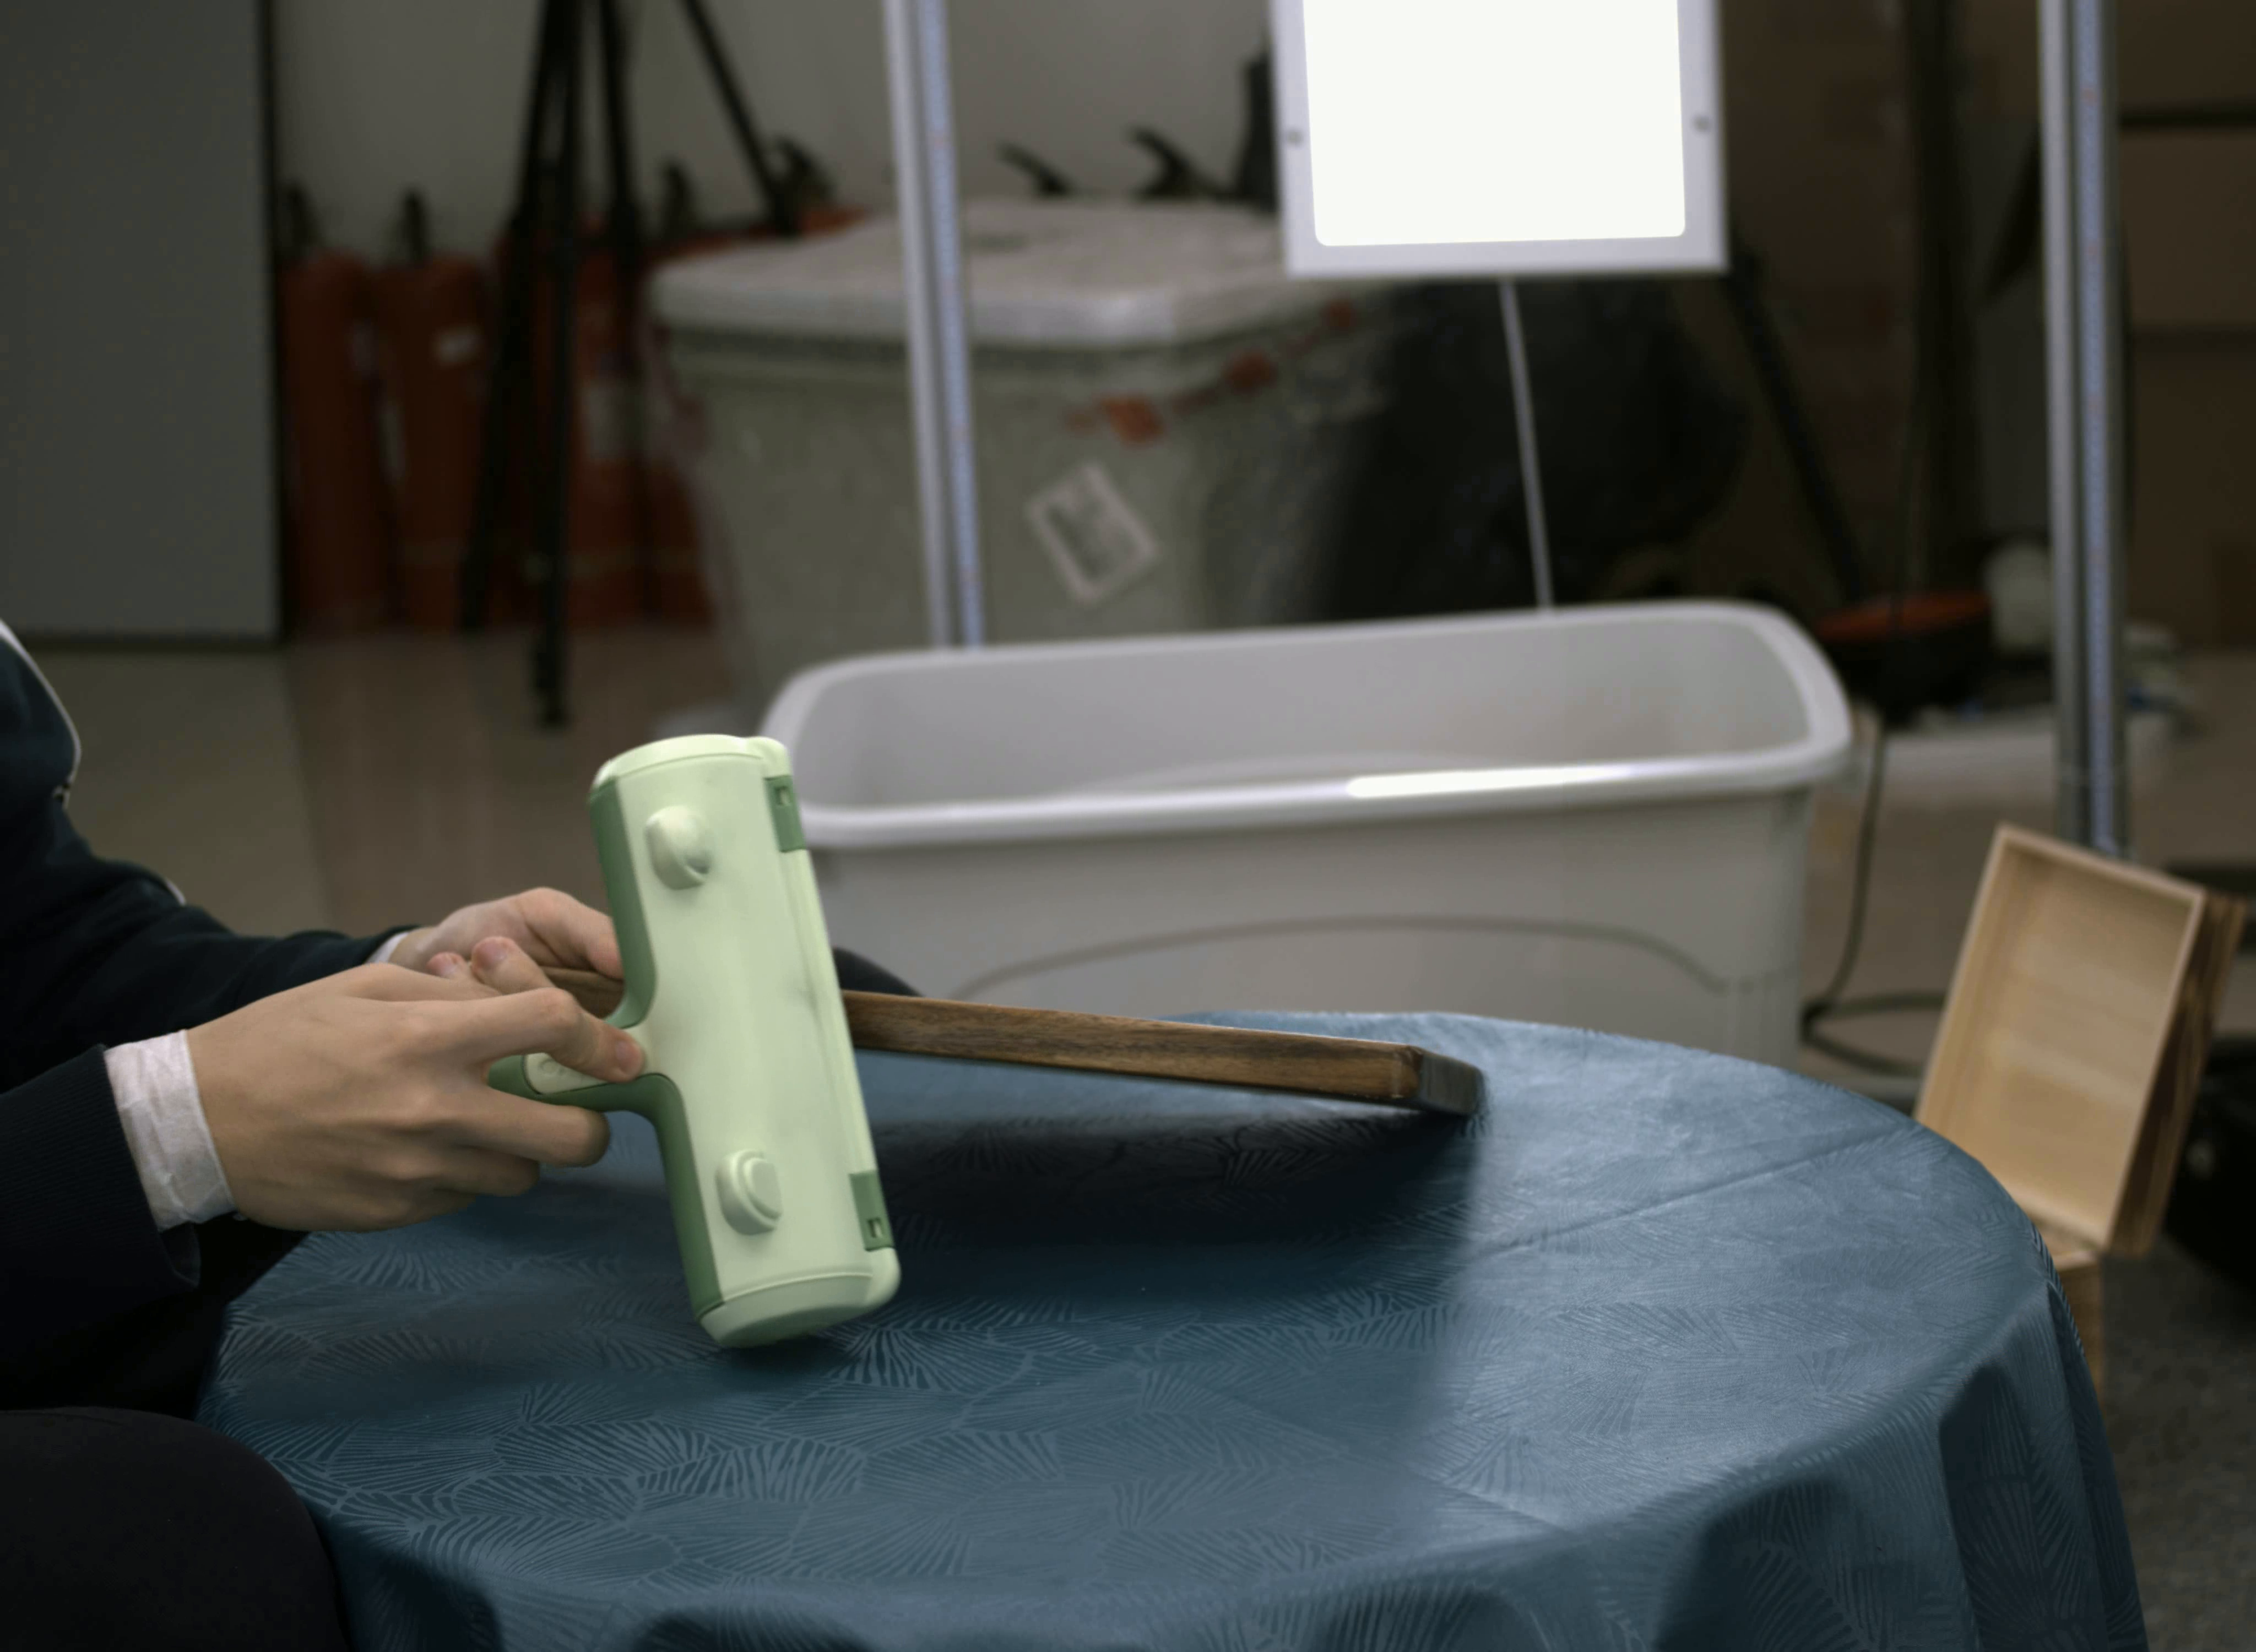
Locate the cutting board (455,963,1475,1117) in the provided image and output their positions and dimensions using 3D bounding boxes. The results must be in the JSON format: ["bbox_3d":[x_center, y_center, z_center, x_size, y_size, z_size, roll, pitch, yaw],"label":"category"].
[{"bbox_3d":[-0.060,0.072,1.896,0.354,0.023,0.199,5,-4,11],"label":"cutting board"}]

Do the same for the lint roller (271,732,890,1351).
[{"bbox_3d":[-0.183,0.076,1.764,0.181,0.199,0.083,-11,-16,-8],"label":"lint roller"}]
